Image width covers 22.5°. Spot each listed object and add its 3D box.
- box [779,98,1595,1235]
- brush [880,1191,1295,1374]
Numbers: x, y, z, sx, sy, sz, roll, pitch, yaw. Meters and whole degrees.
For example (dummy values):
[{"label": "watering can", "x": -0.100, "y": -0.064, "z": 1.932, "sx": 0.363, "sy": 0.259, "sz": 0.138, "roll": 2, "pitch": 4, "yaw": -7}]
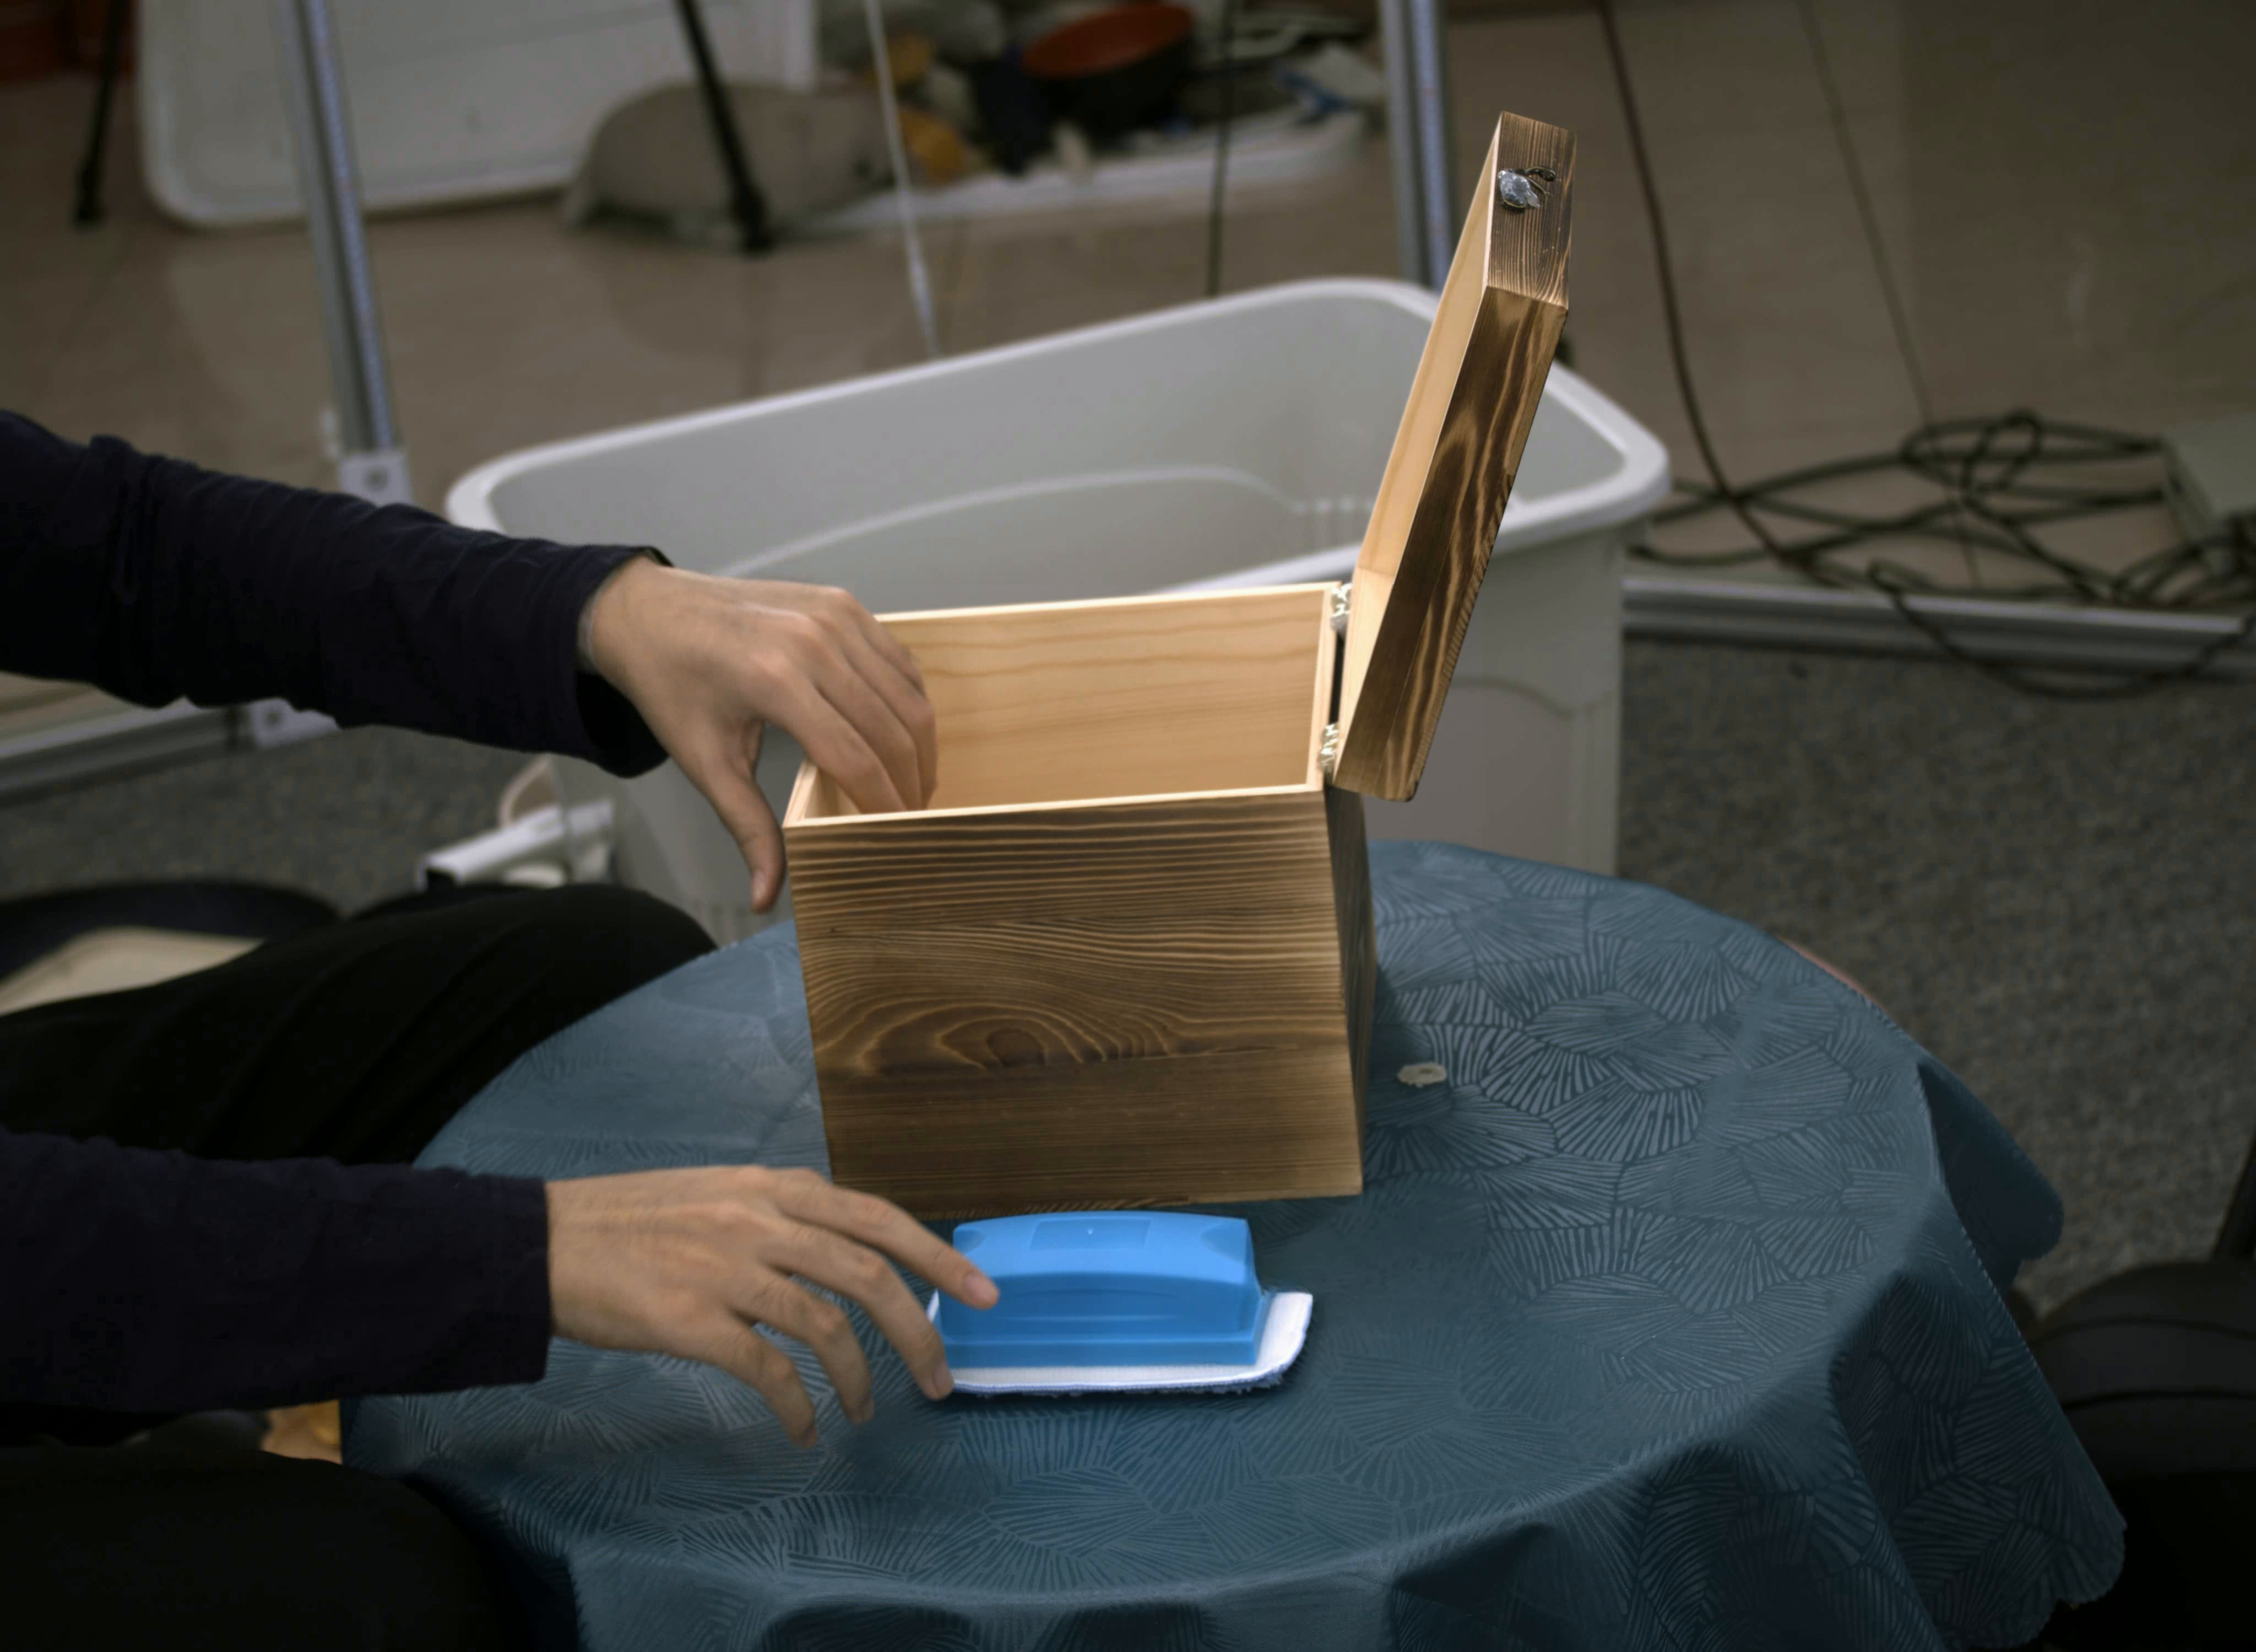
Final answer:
[{"label": "box", "x": 0.028, "y": -0.064, "z": 2.143, "sx": 0.321, "sy": 0.381, "sz": 0.205, "roll": -4, "pitch": 25, "yaw": 6}, {"label": "brush", "x": -0.015, "y": 0.162, "z": 2.029, "sx": 0.143, "sy": 0.057, "sz": 0.083, "roll": 1, "pitch": 23, "yaw": 12}]
